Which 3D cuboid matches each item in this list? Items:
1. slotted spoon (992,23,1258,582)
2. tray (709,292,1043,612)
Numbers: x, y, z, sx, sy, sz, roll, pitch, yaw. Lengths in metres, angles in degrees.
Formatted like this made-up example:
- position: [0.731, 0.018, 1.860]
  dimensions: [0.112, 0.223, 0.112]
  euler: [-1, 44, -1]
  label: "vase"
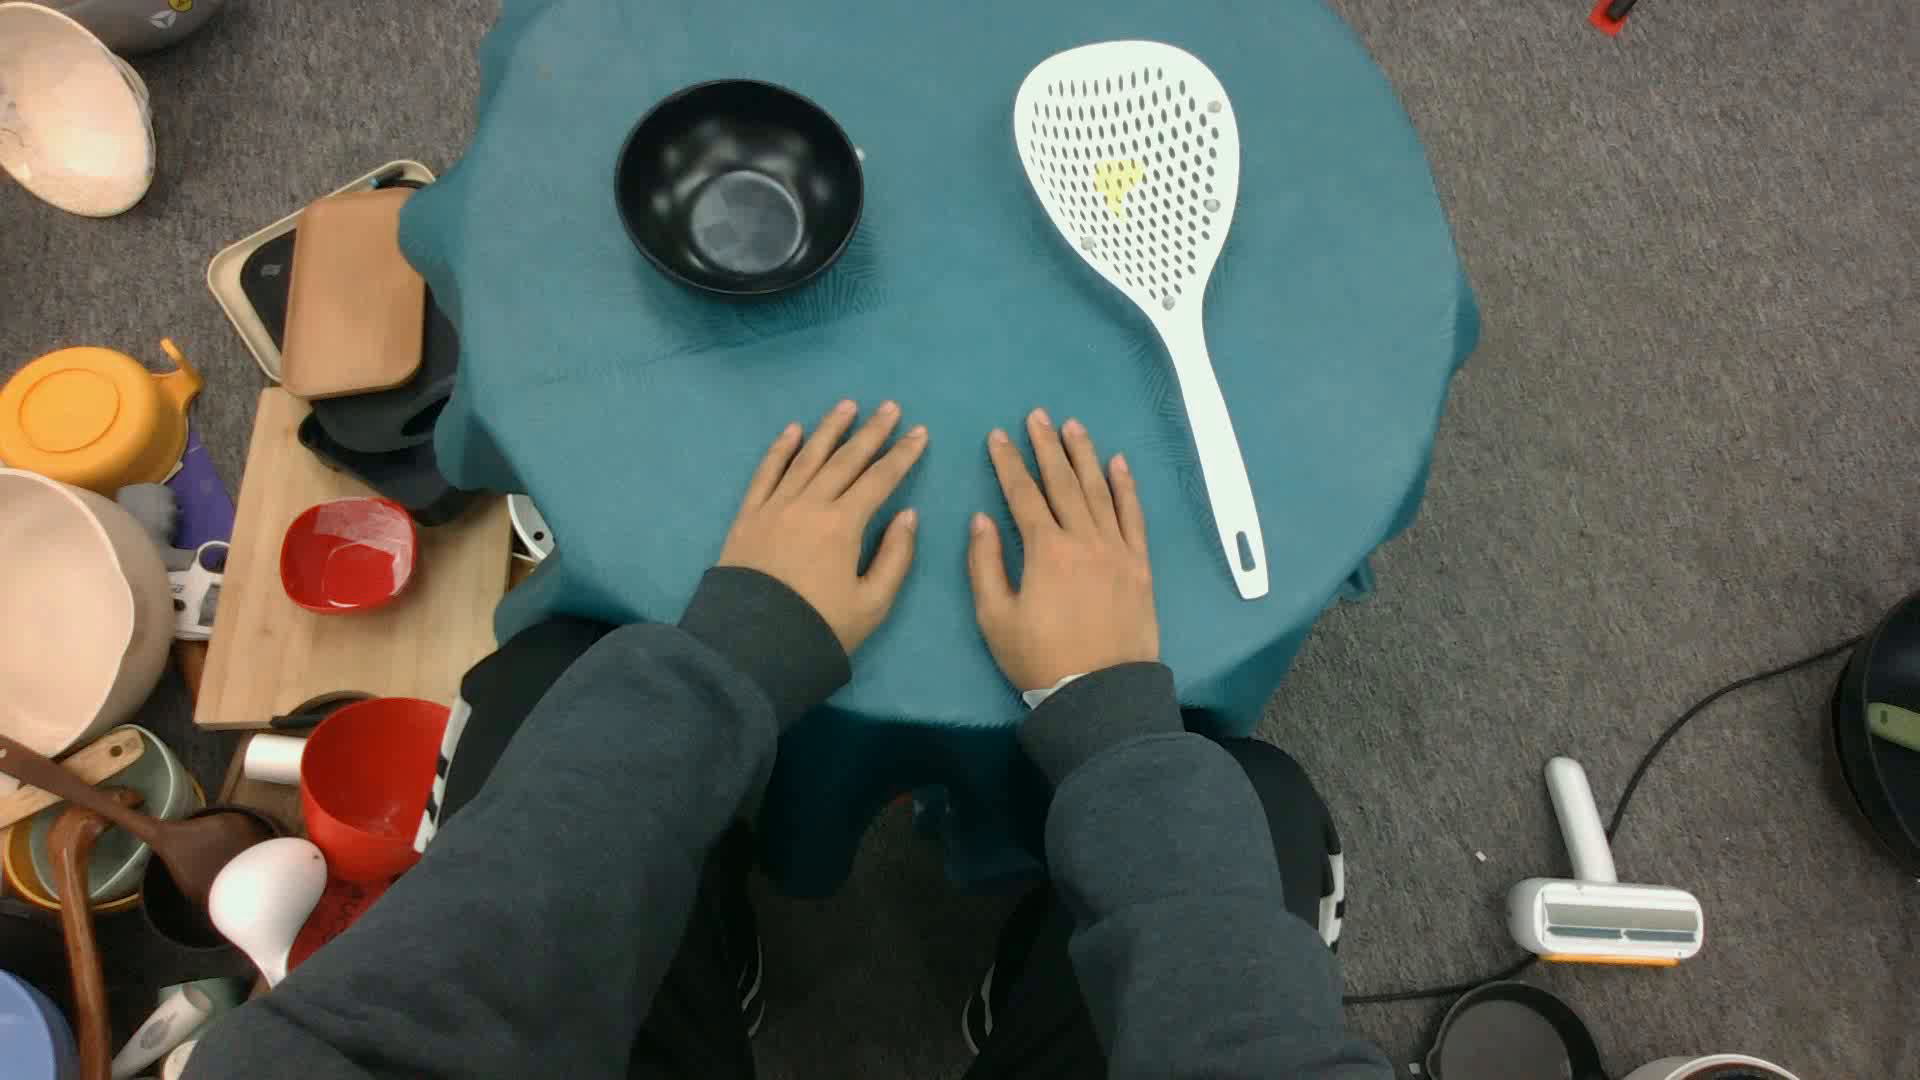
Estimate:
- position: [0.113, -0.143, 0.807]
  dimensions: [0.137, 0.050, 0.348]
  euler: [-12, 74, -14]
  label: "slotted spoon"
- position: [-0.083, -0.091, 1.363]
  dimensions: [0.192, 0.027, 0.300]
  euler: [-42, 80, -17]
  label: "tray"
